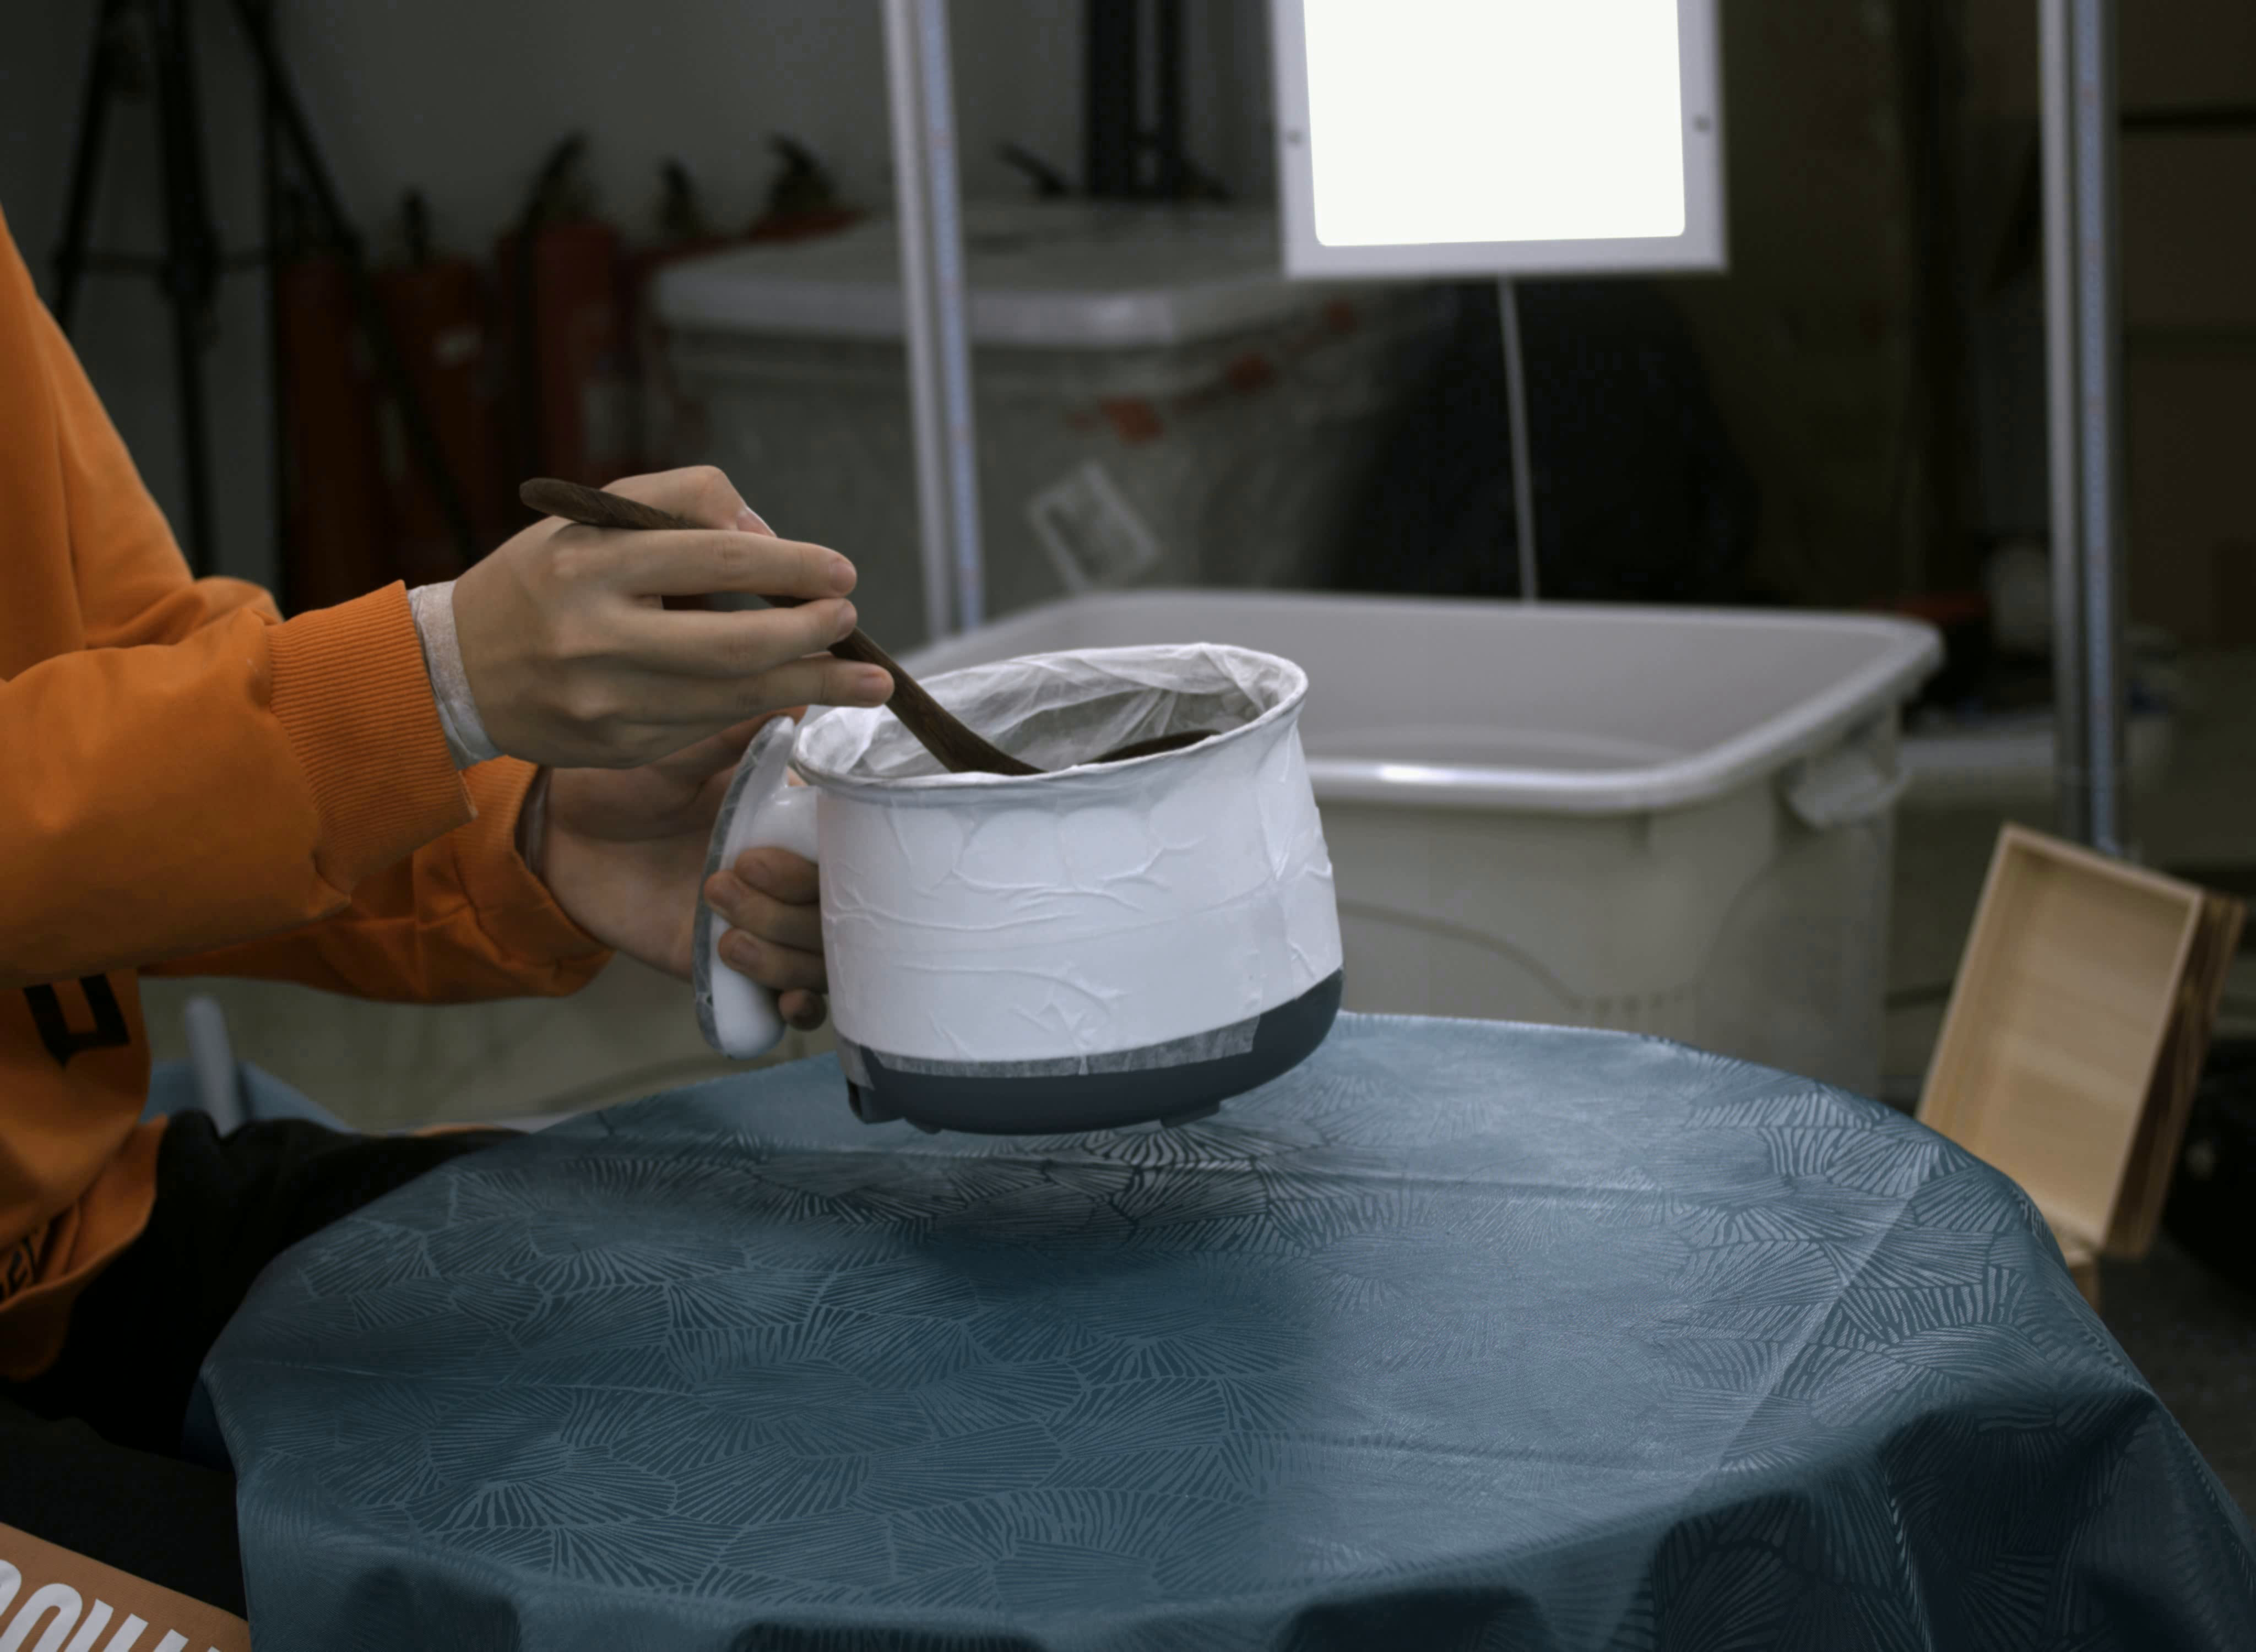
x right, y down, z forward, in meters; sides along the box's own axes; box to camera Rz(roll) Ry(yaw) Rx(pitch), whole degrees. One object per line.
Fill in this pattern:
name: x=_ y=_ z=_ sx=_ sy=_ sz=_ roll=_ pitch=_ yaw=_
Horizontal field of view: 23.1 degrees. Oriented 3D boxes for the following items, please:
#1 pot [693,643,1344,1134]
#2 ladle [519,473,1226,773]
pot: x=-0.044 y=0.023 z=1.890 sx=0.237 sy=0.137 sz=0.176 roll=-4 pitch=14 yaw=19
ladle: x=-0.079 y=-0.070 z=1.829 sx=0.270 sy=0.071 sz=0.078 roll=34 pitch=-24 yaw=-27
